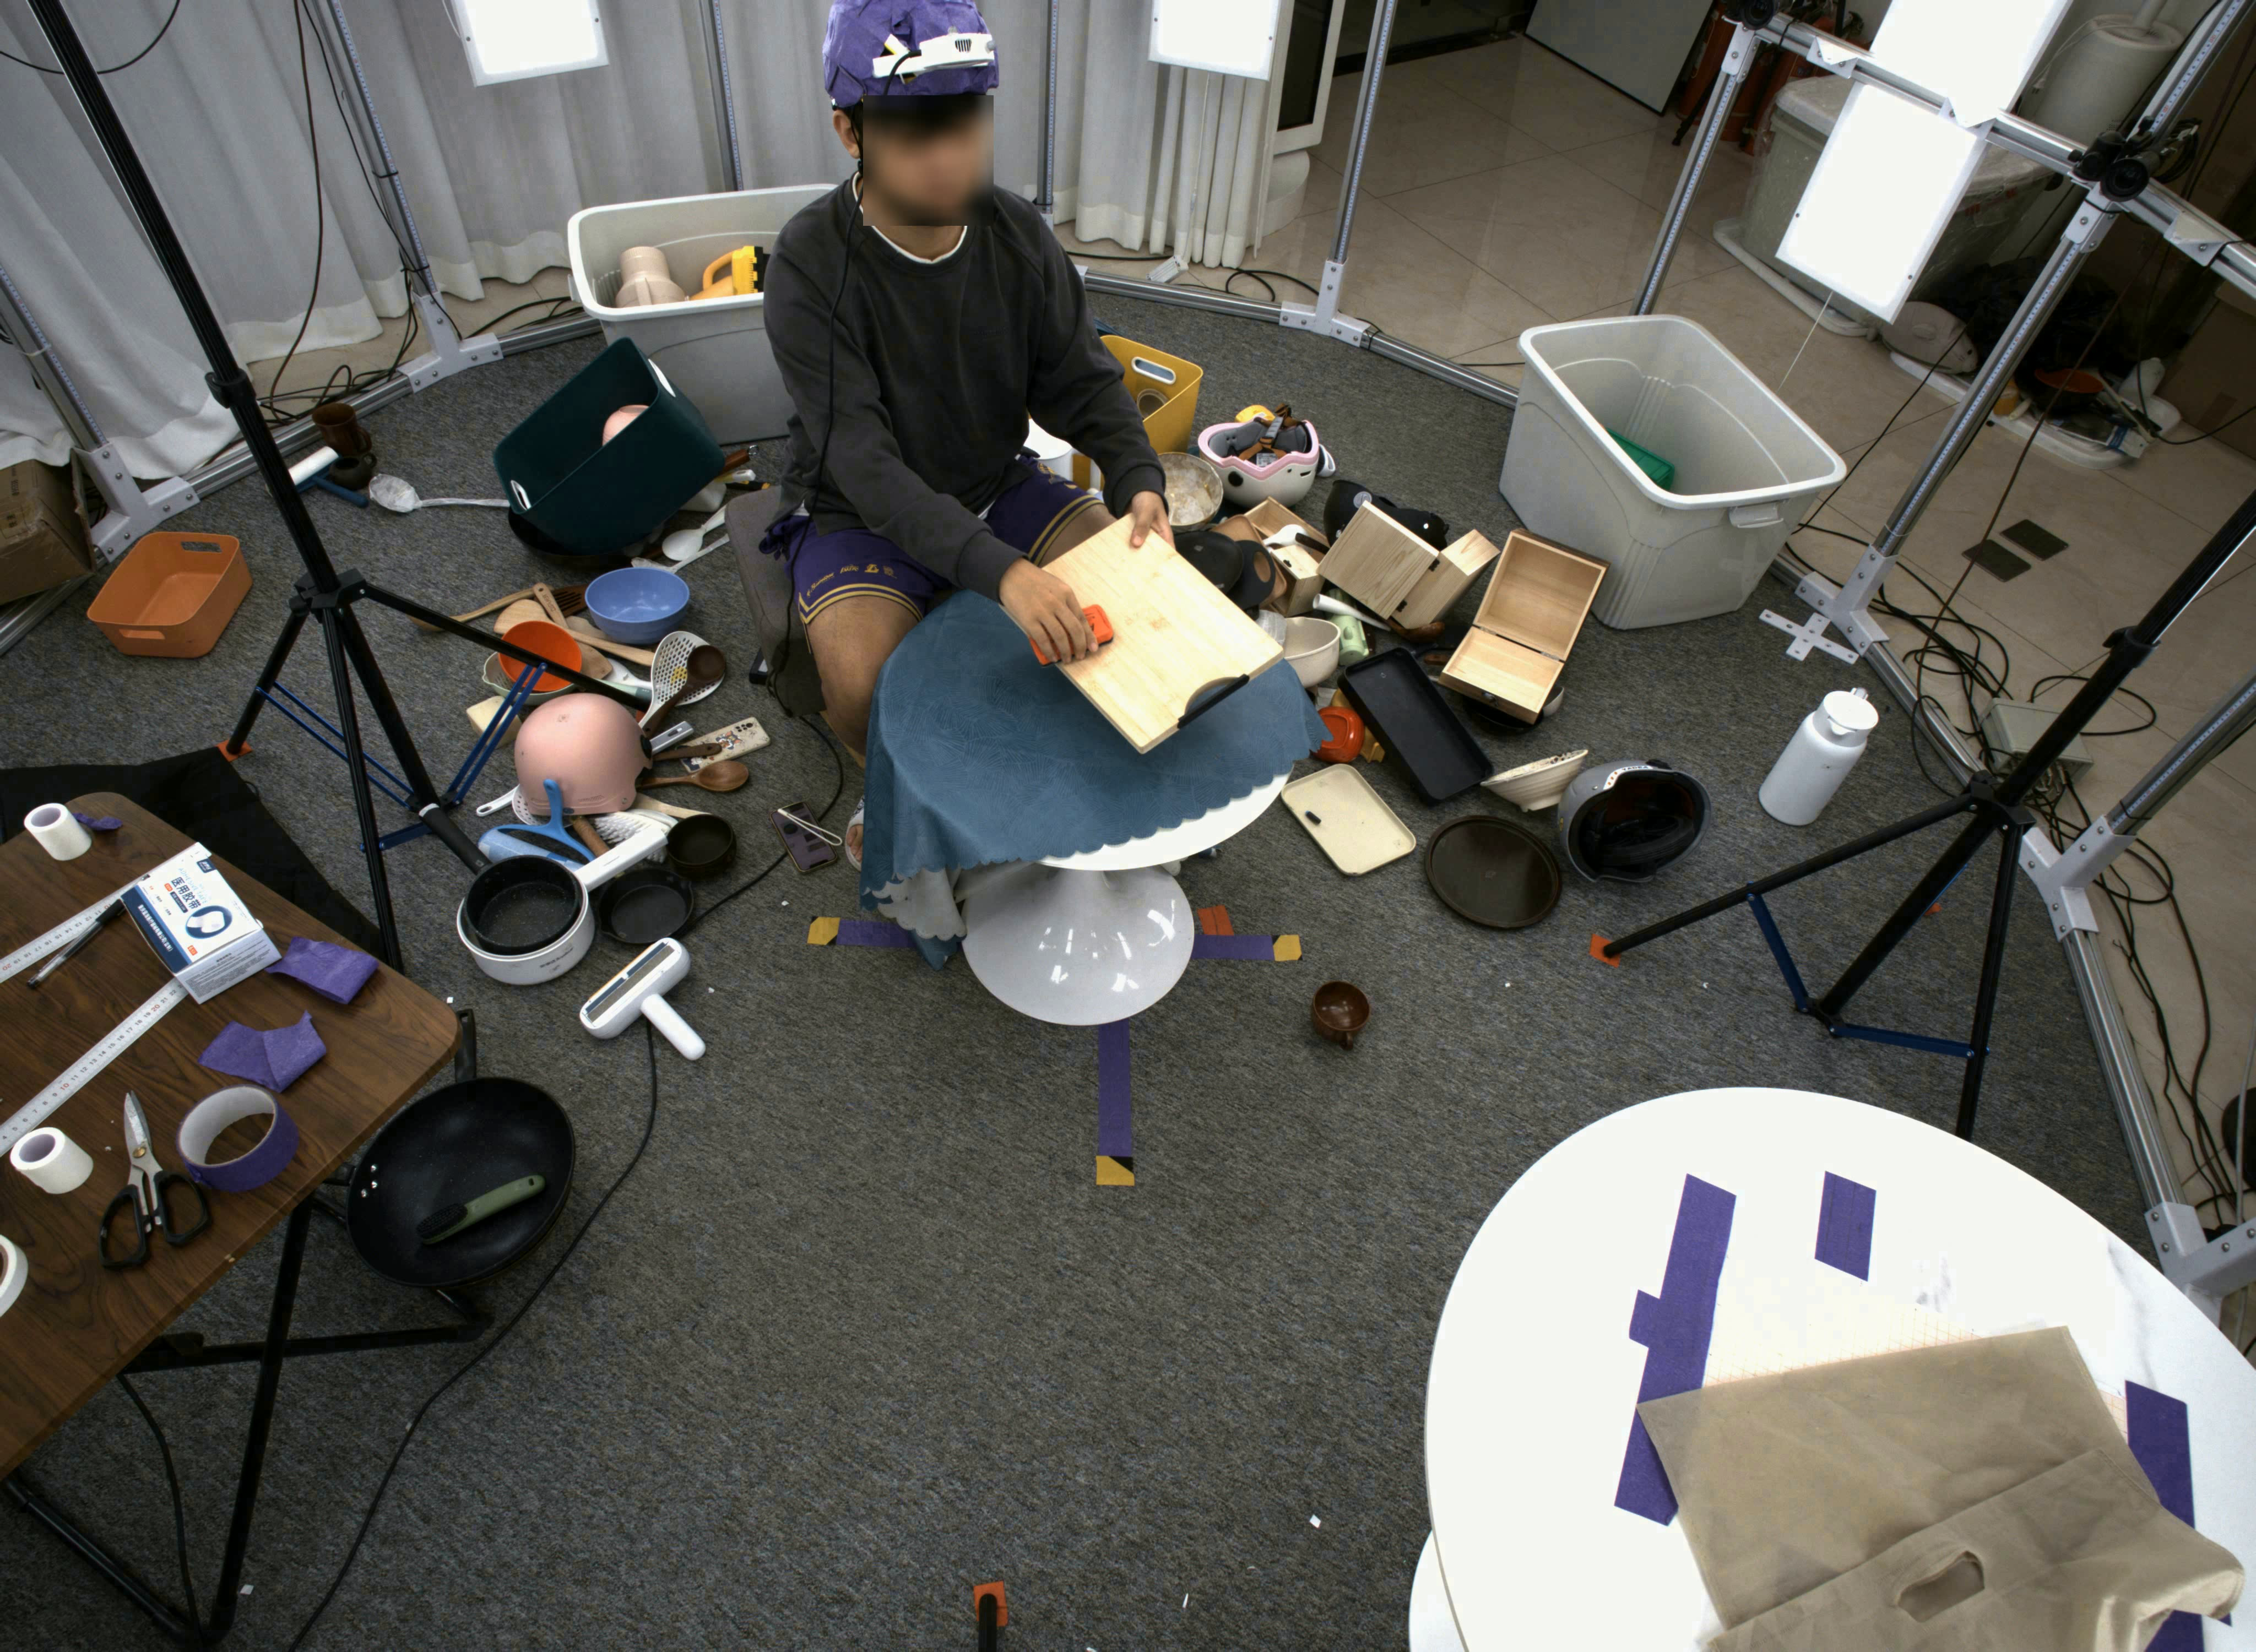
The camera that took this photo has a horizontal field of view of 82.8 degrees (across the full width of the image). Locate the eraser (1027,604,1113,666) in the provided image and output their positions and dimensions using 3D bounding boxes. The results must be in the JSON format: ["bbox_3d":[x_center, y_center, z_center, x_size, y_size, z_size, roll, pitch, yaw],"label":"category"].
[{"bbox_3d":[-0.078,-0.258,1.732,0.108,0.022,0.060,-21,56,-6],"label":"eraser"}]

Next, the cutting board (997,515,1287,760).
[{"bbox_3d":[0.014,-0.267,1.748,0.252,0.023,0.355,-35,59,-14],"label":"cutting board"}]
